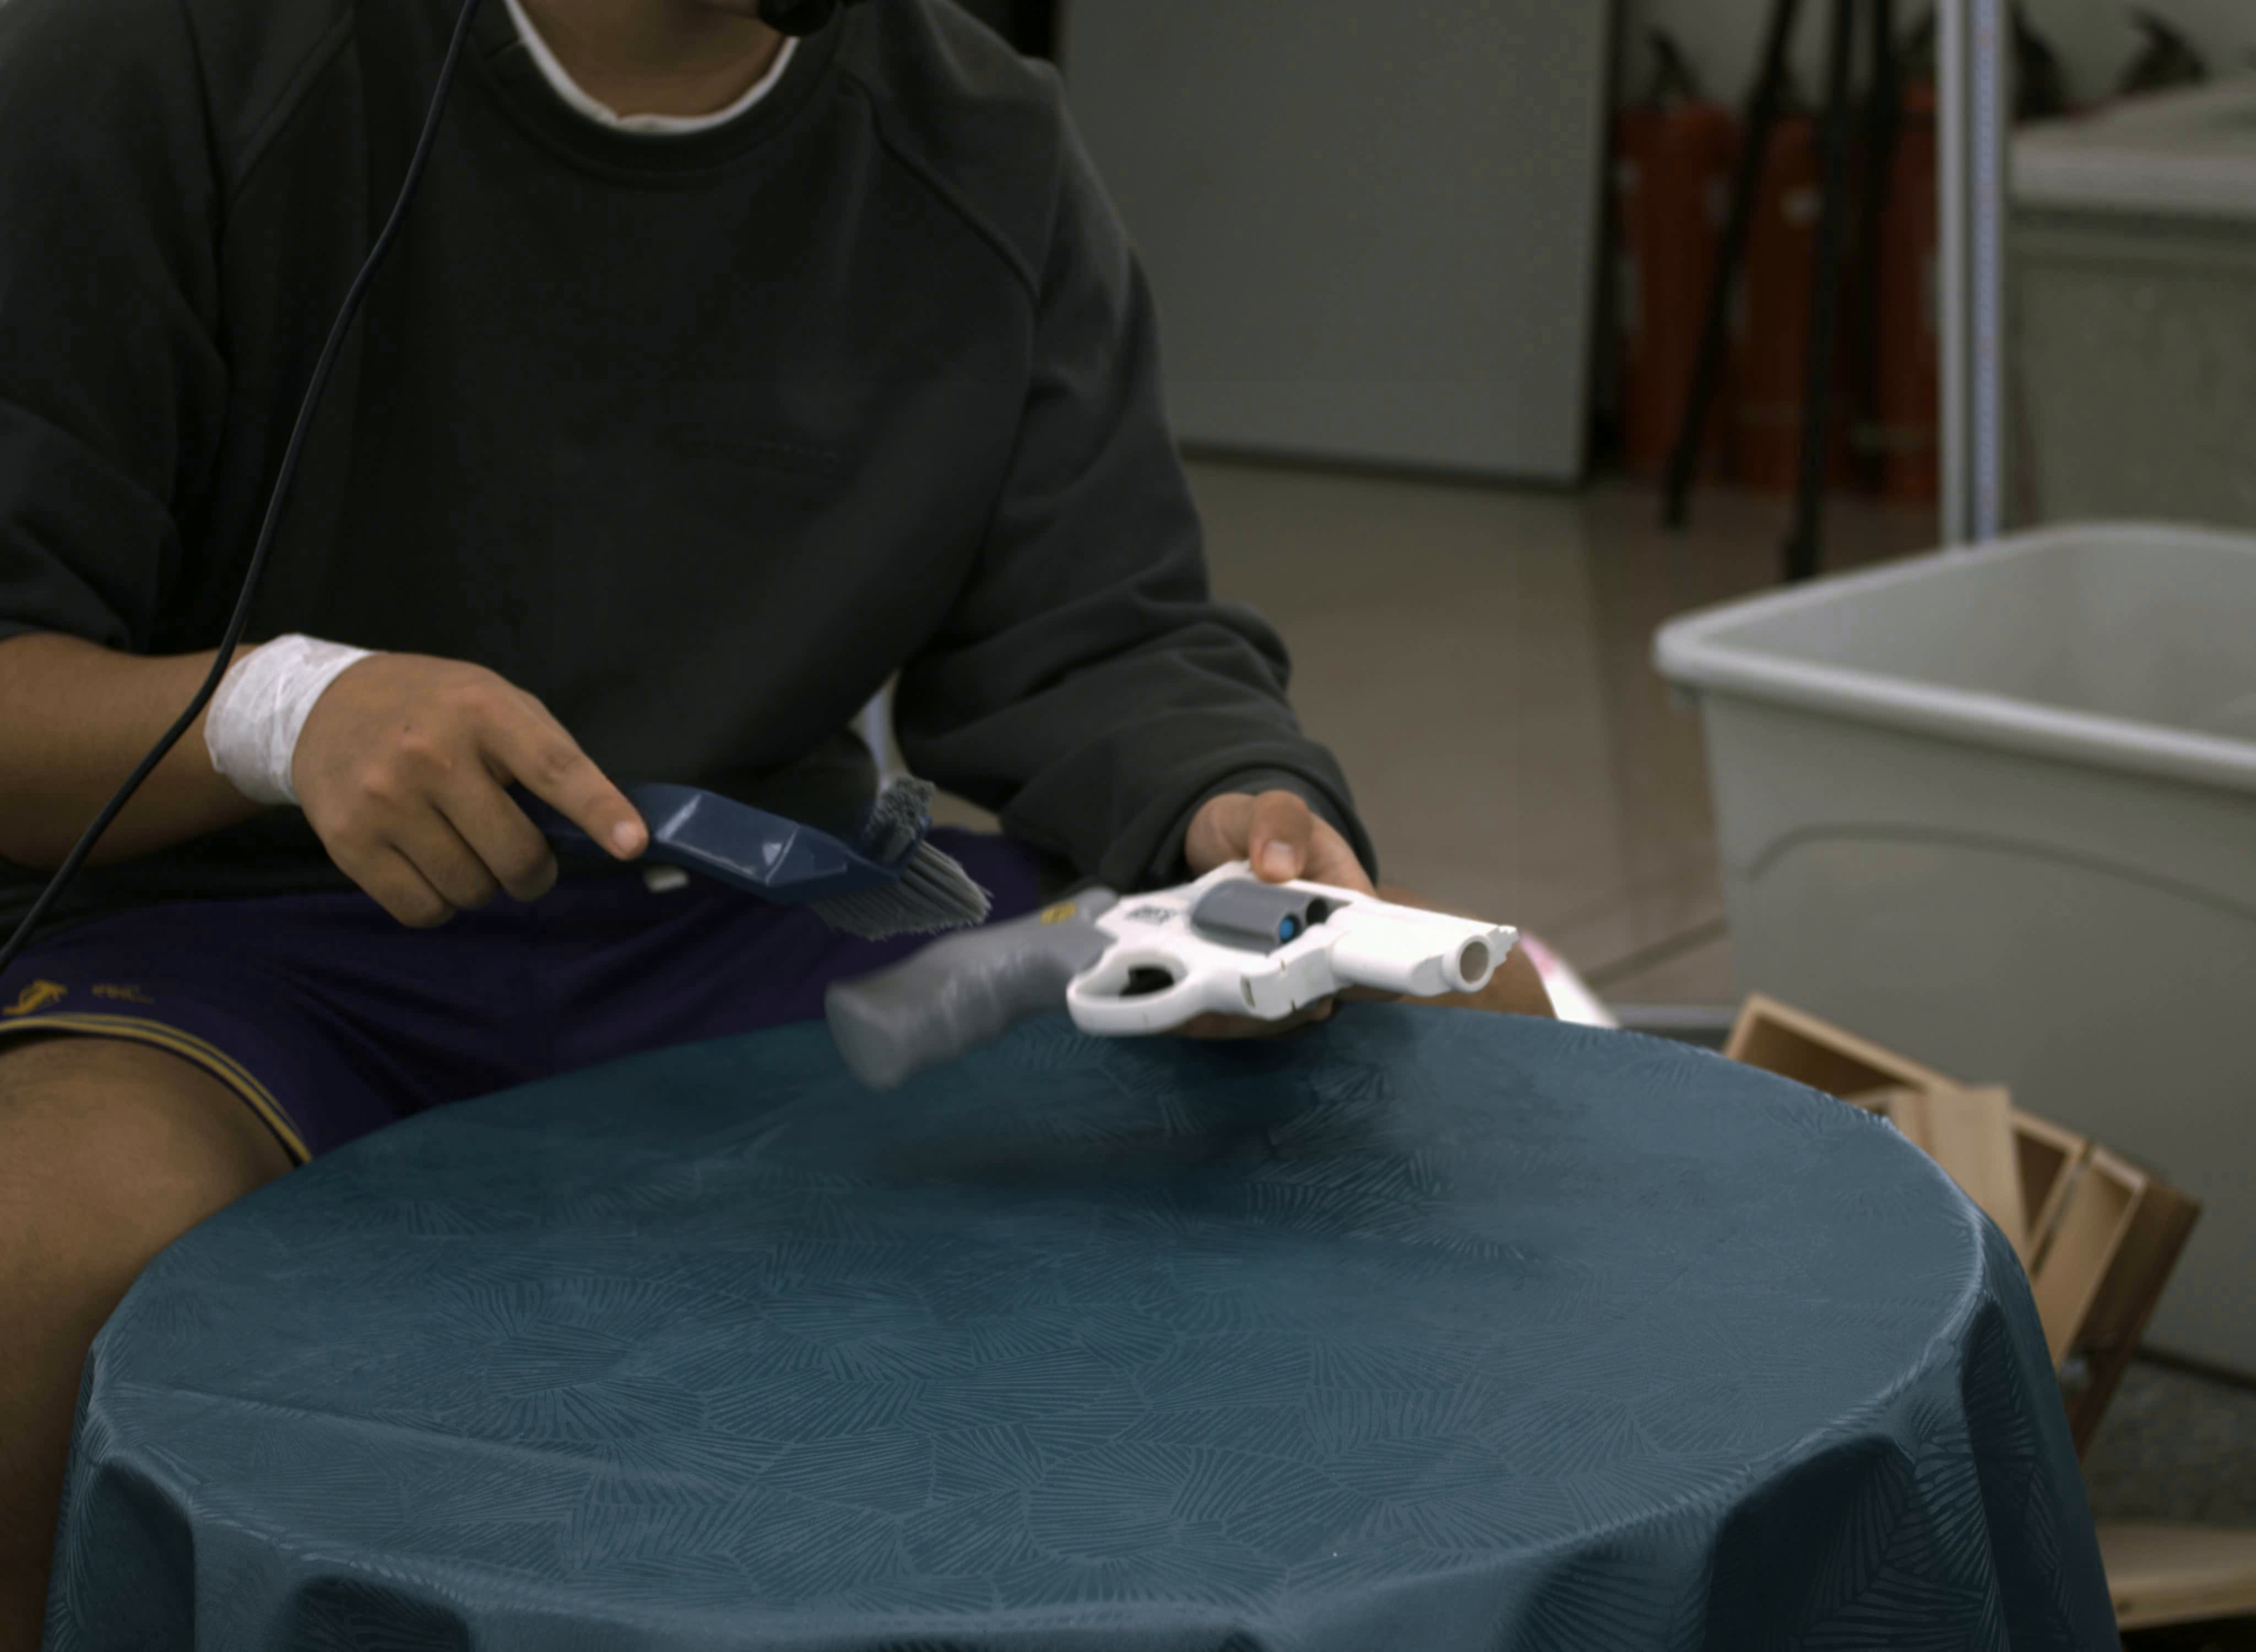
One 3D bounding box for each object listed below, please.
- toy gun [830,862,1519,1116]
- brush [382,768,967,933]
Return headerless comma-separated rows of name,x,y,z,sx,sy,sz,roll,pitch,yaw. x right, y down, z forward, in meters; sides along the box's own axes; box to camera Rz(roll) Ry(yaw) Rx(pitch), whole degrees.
toy gun,0.012,0.053,1.750,0.139,0.039,0.211,-33,24,-34
brush,-0.161,-0.004,1.796,0.275,0.095,0.033,9,62,38
